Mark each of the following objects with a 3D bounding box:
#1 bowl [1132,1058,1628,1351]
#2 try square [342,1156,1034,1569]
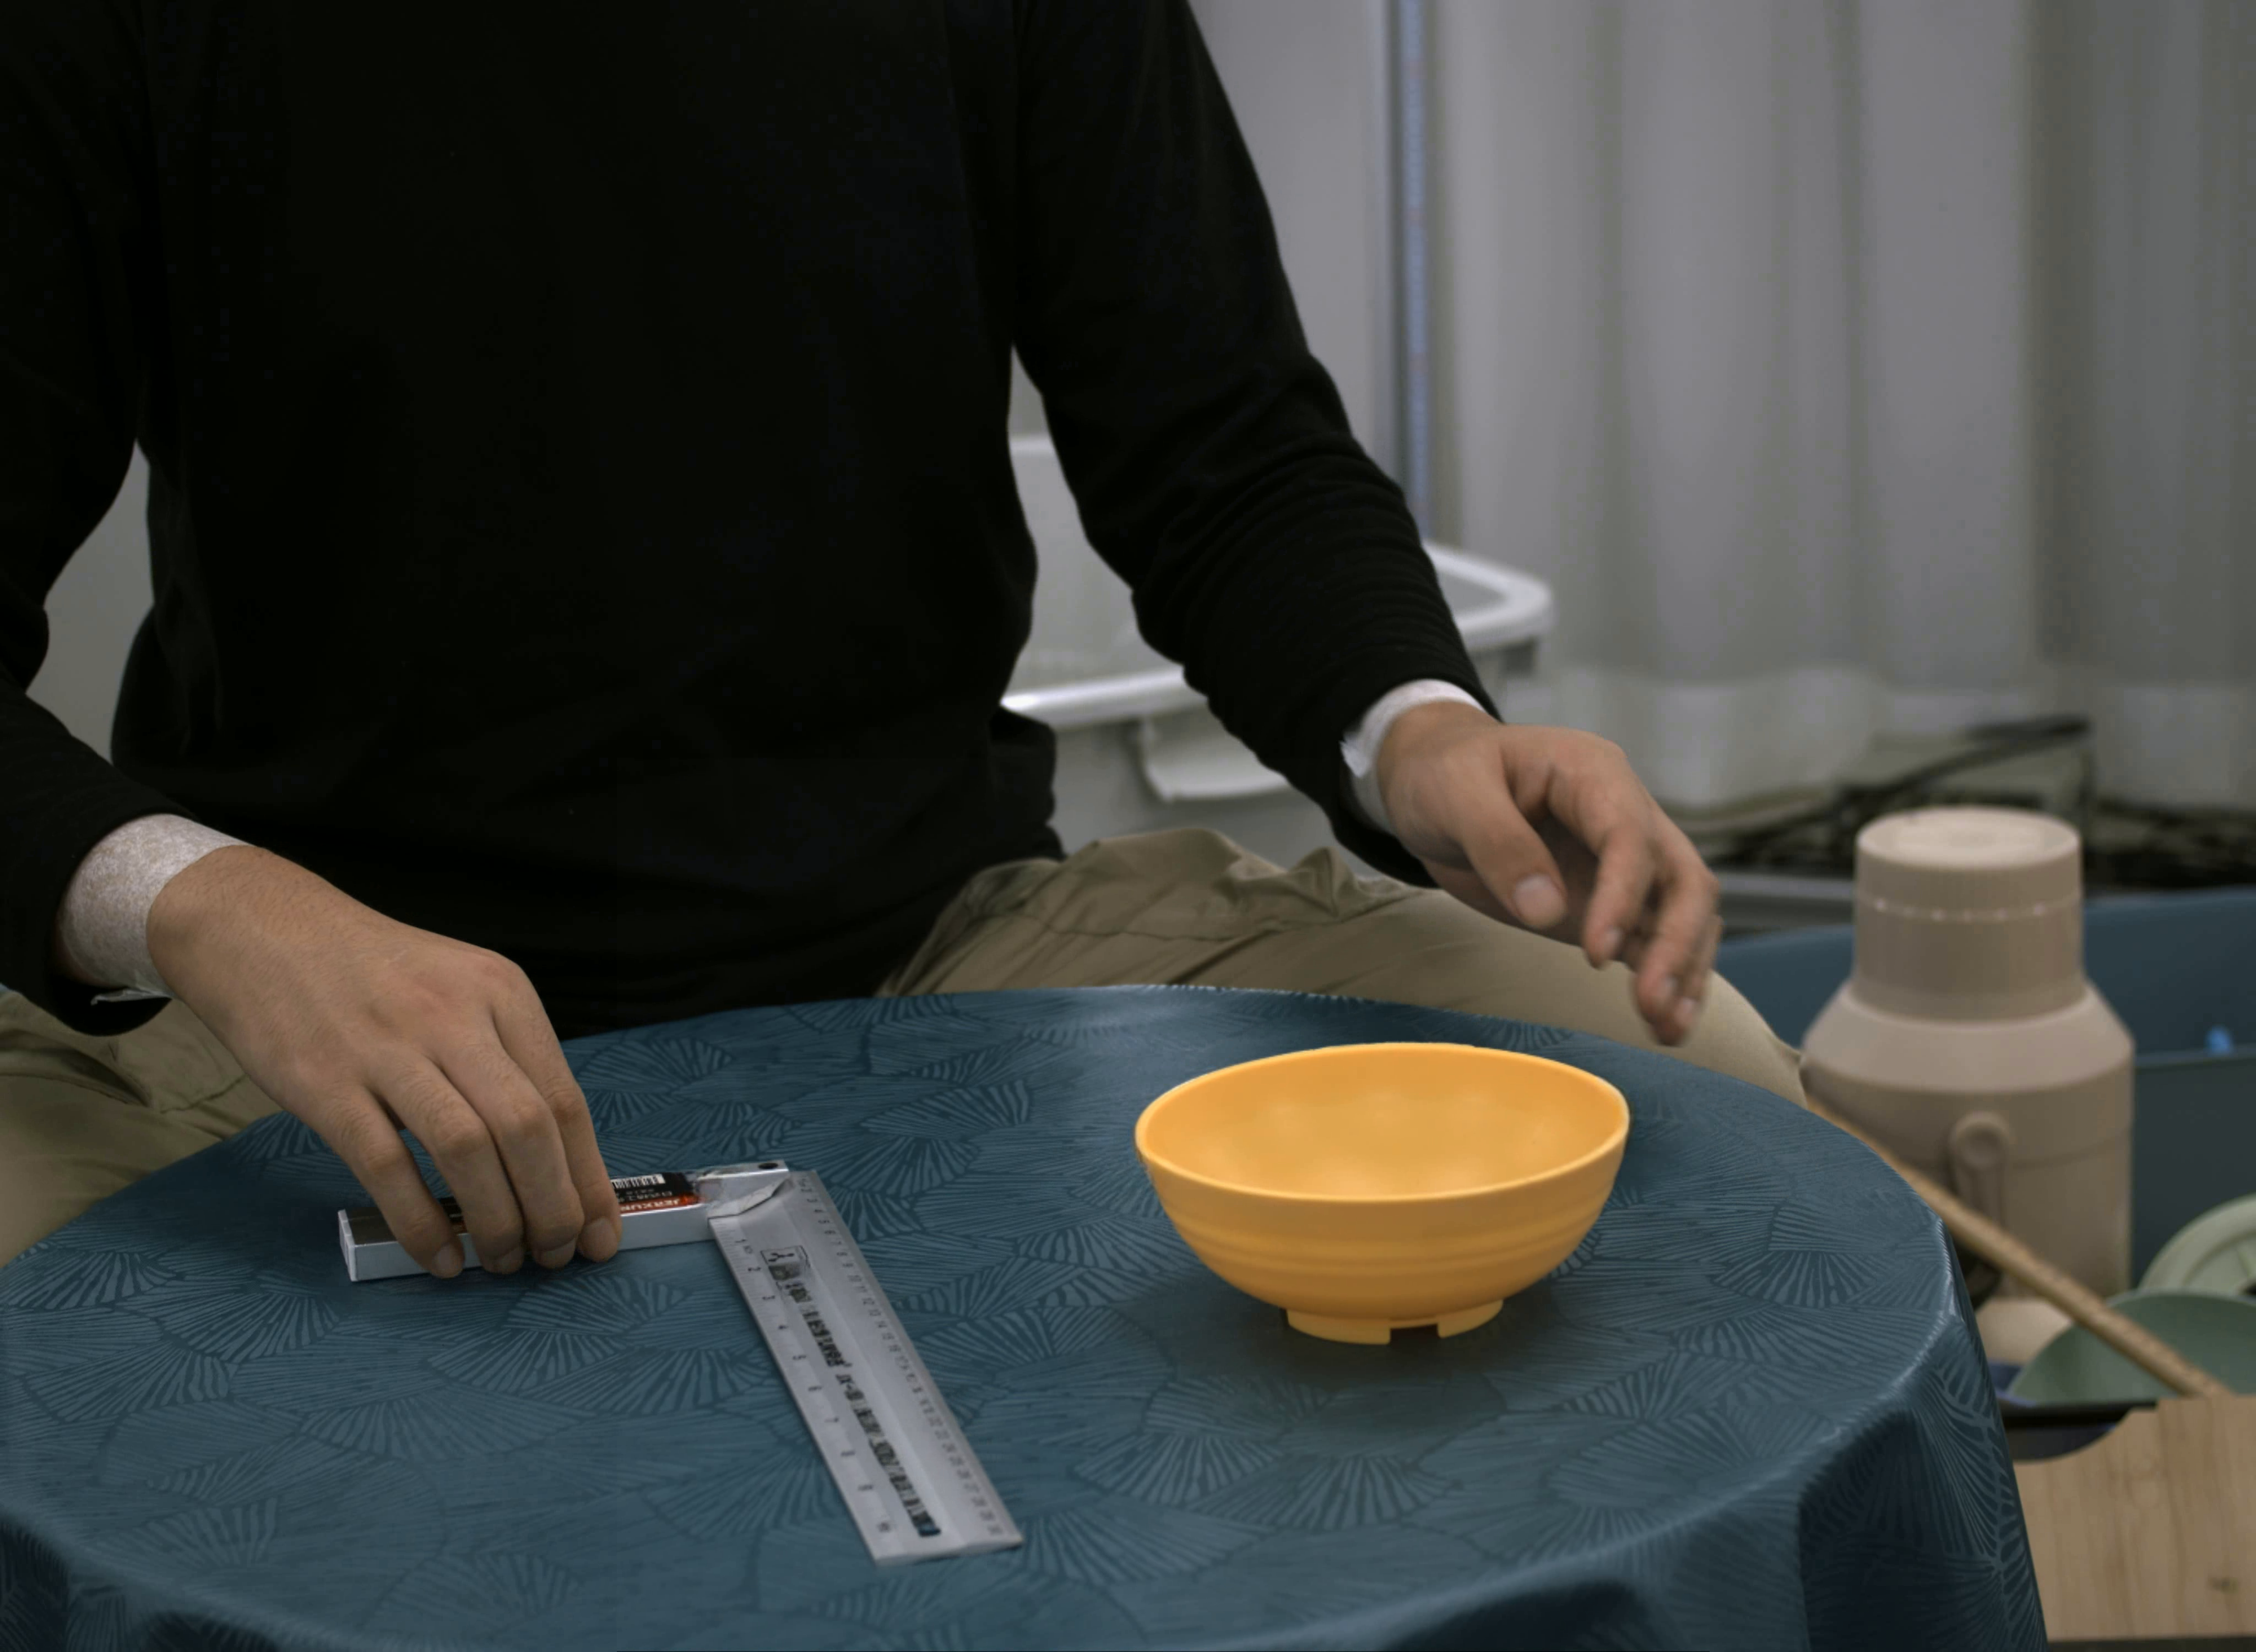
[{"bbox_3d":[0.073,0.115,1.594,0.145,0.060,0.146,-1,12,0],"label":"bowl"},{"bbox_3d":[-0.134,0.159,1.568,0.151,0.016,0.315,-10,17,-11],"label":"try square"}]
